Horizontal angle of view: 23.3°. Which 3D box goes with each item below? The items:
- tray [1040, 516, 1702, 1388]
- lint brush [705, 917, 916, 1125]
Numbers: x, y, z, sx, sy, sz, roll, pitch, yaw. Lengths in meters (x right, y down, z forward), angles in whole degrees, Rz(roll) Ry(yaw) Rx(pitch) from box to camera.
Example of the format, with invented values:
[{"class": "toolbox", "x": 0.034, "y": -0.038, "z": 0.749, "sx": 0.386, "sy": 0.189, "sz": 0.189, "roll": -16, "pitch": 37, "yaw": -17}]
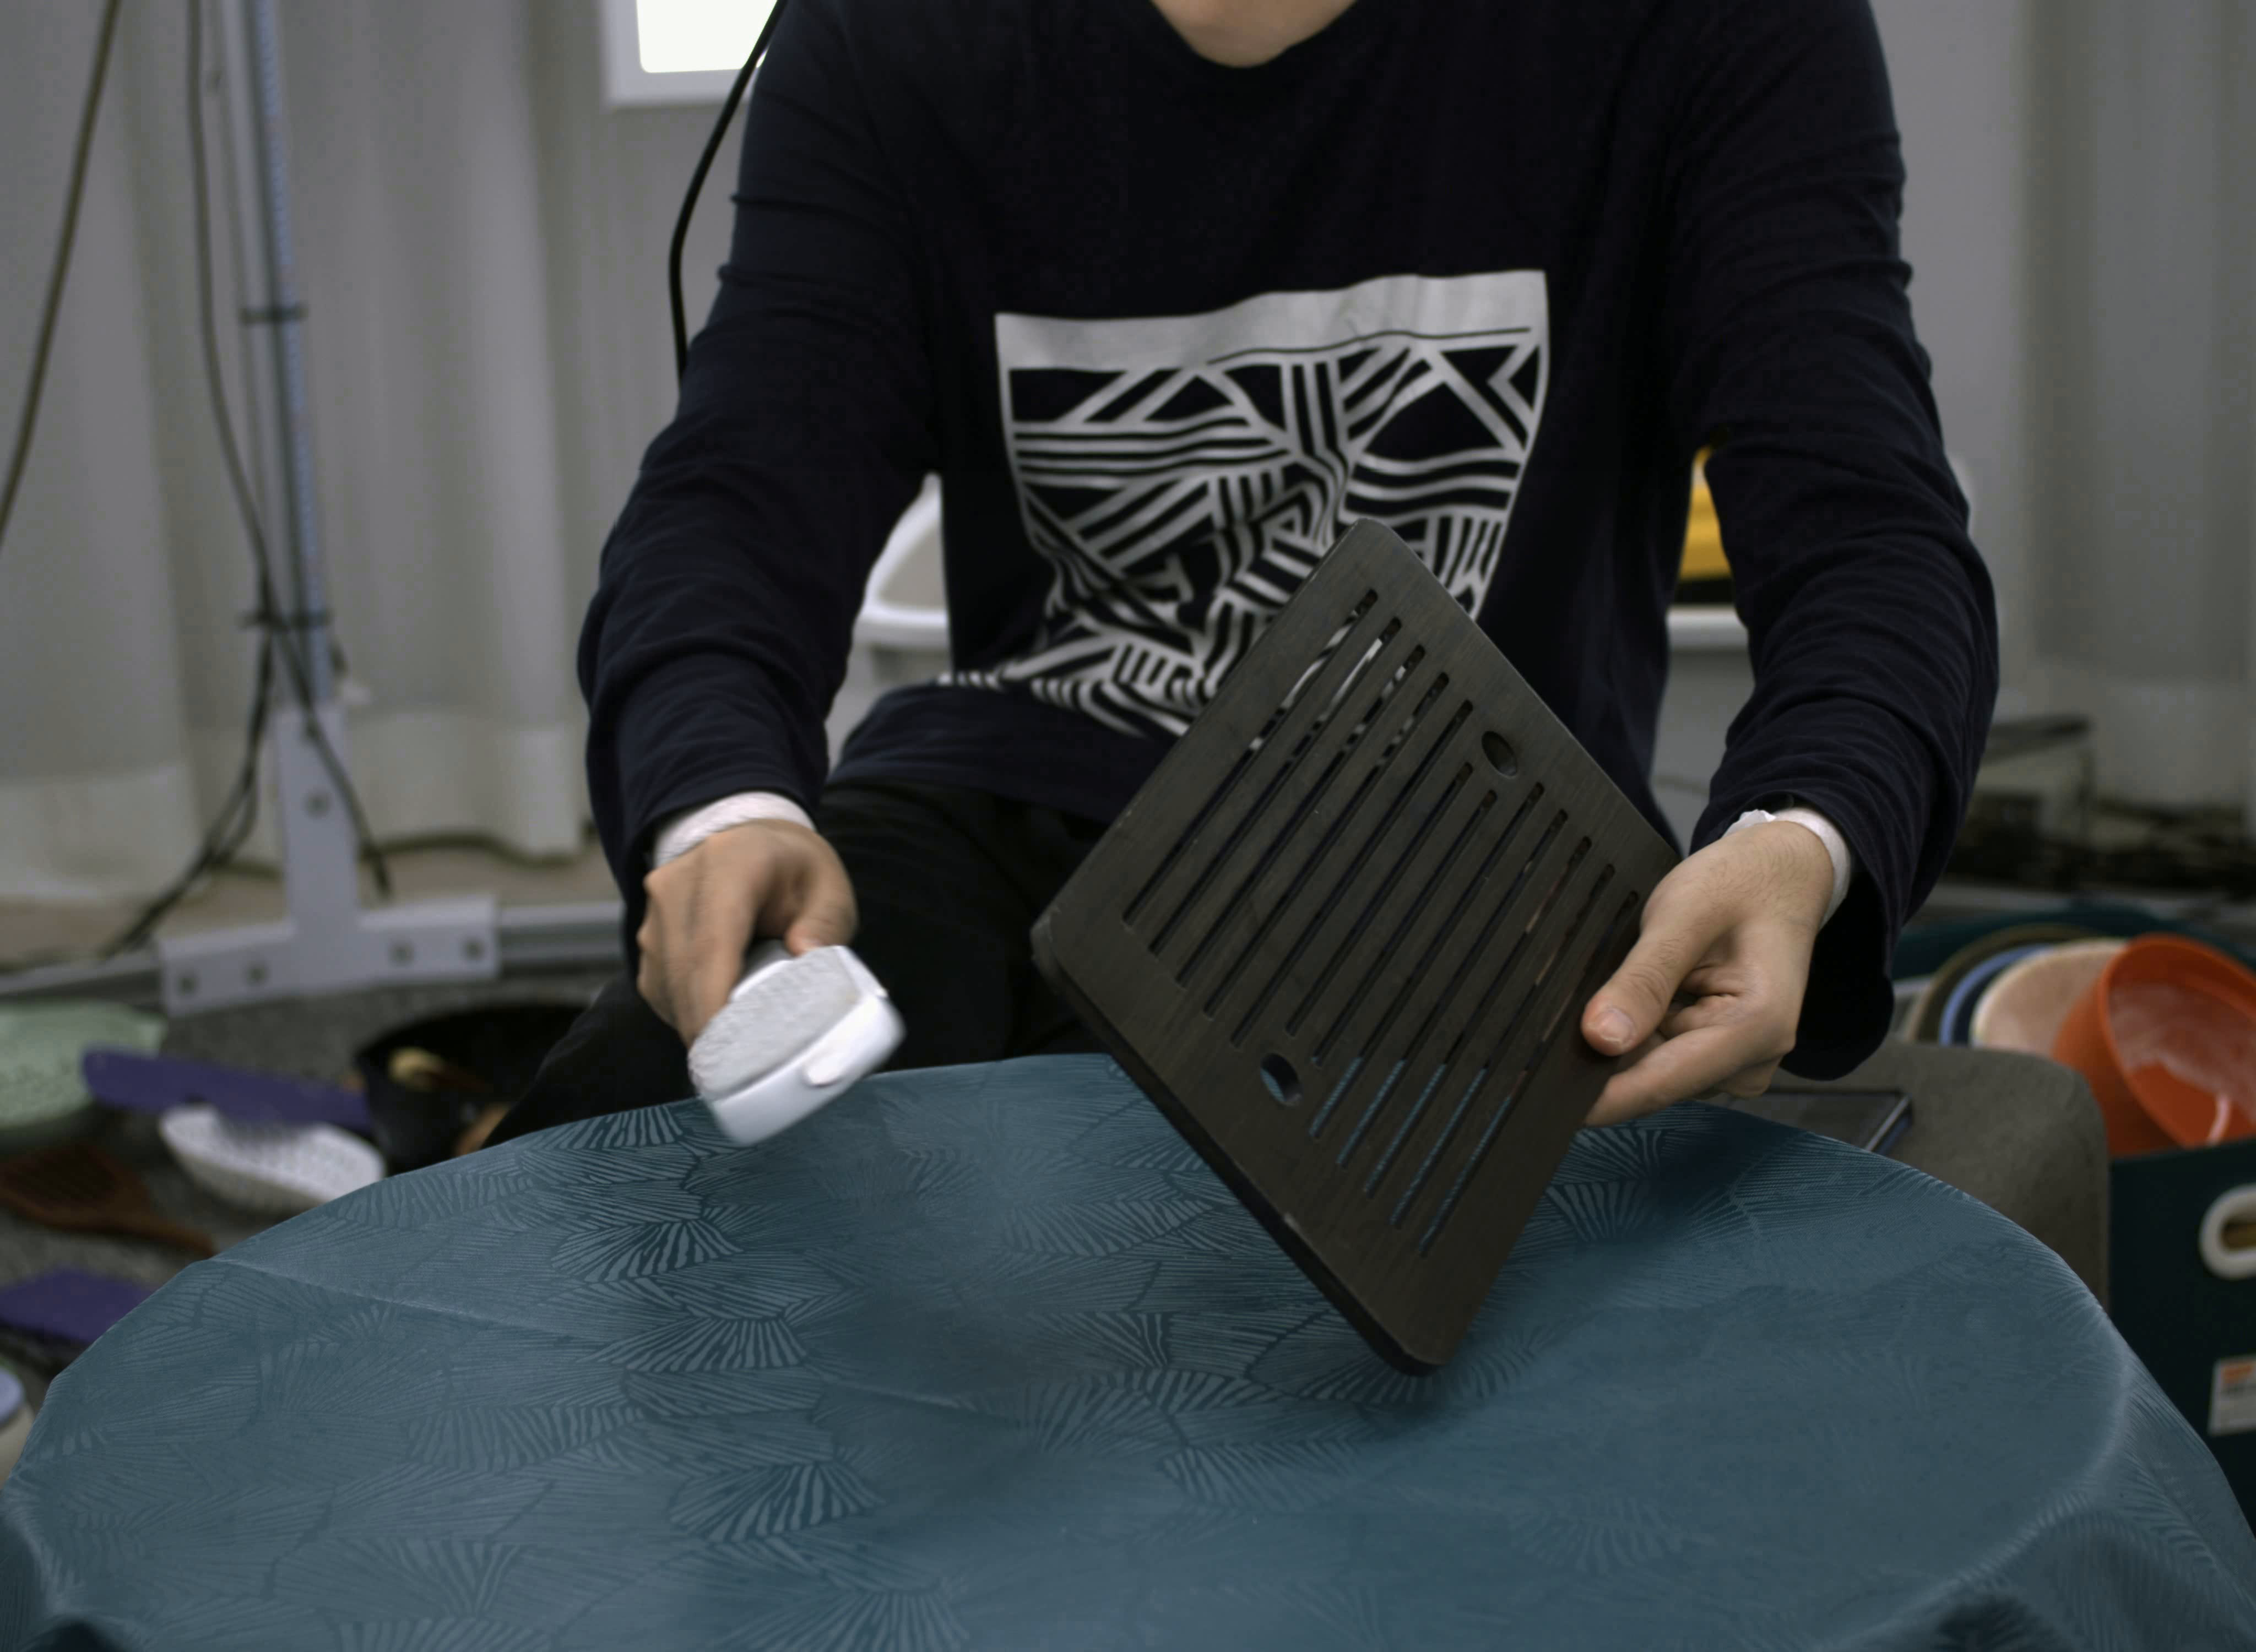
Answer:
[{"class": "tray", "x": 0.077, "y": 0.031, "z": 1.632, "sx": 0.018, "sy": 0.169, "sz": 0.308, "roll": -38, "pitch": 8, "yaw": 32}, {"class": "lint brush", "x": -0.099, "y": 0.051, "z": 1.632, "sx": 0.060, "sy": 0.021, "sz": 0.310, "roll": -38, "pitch": 8, "yaw": -4}]
